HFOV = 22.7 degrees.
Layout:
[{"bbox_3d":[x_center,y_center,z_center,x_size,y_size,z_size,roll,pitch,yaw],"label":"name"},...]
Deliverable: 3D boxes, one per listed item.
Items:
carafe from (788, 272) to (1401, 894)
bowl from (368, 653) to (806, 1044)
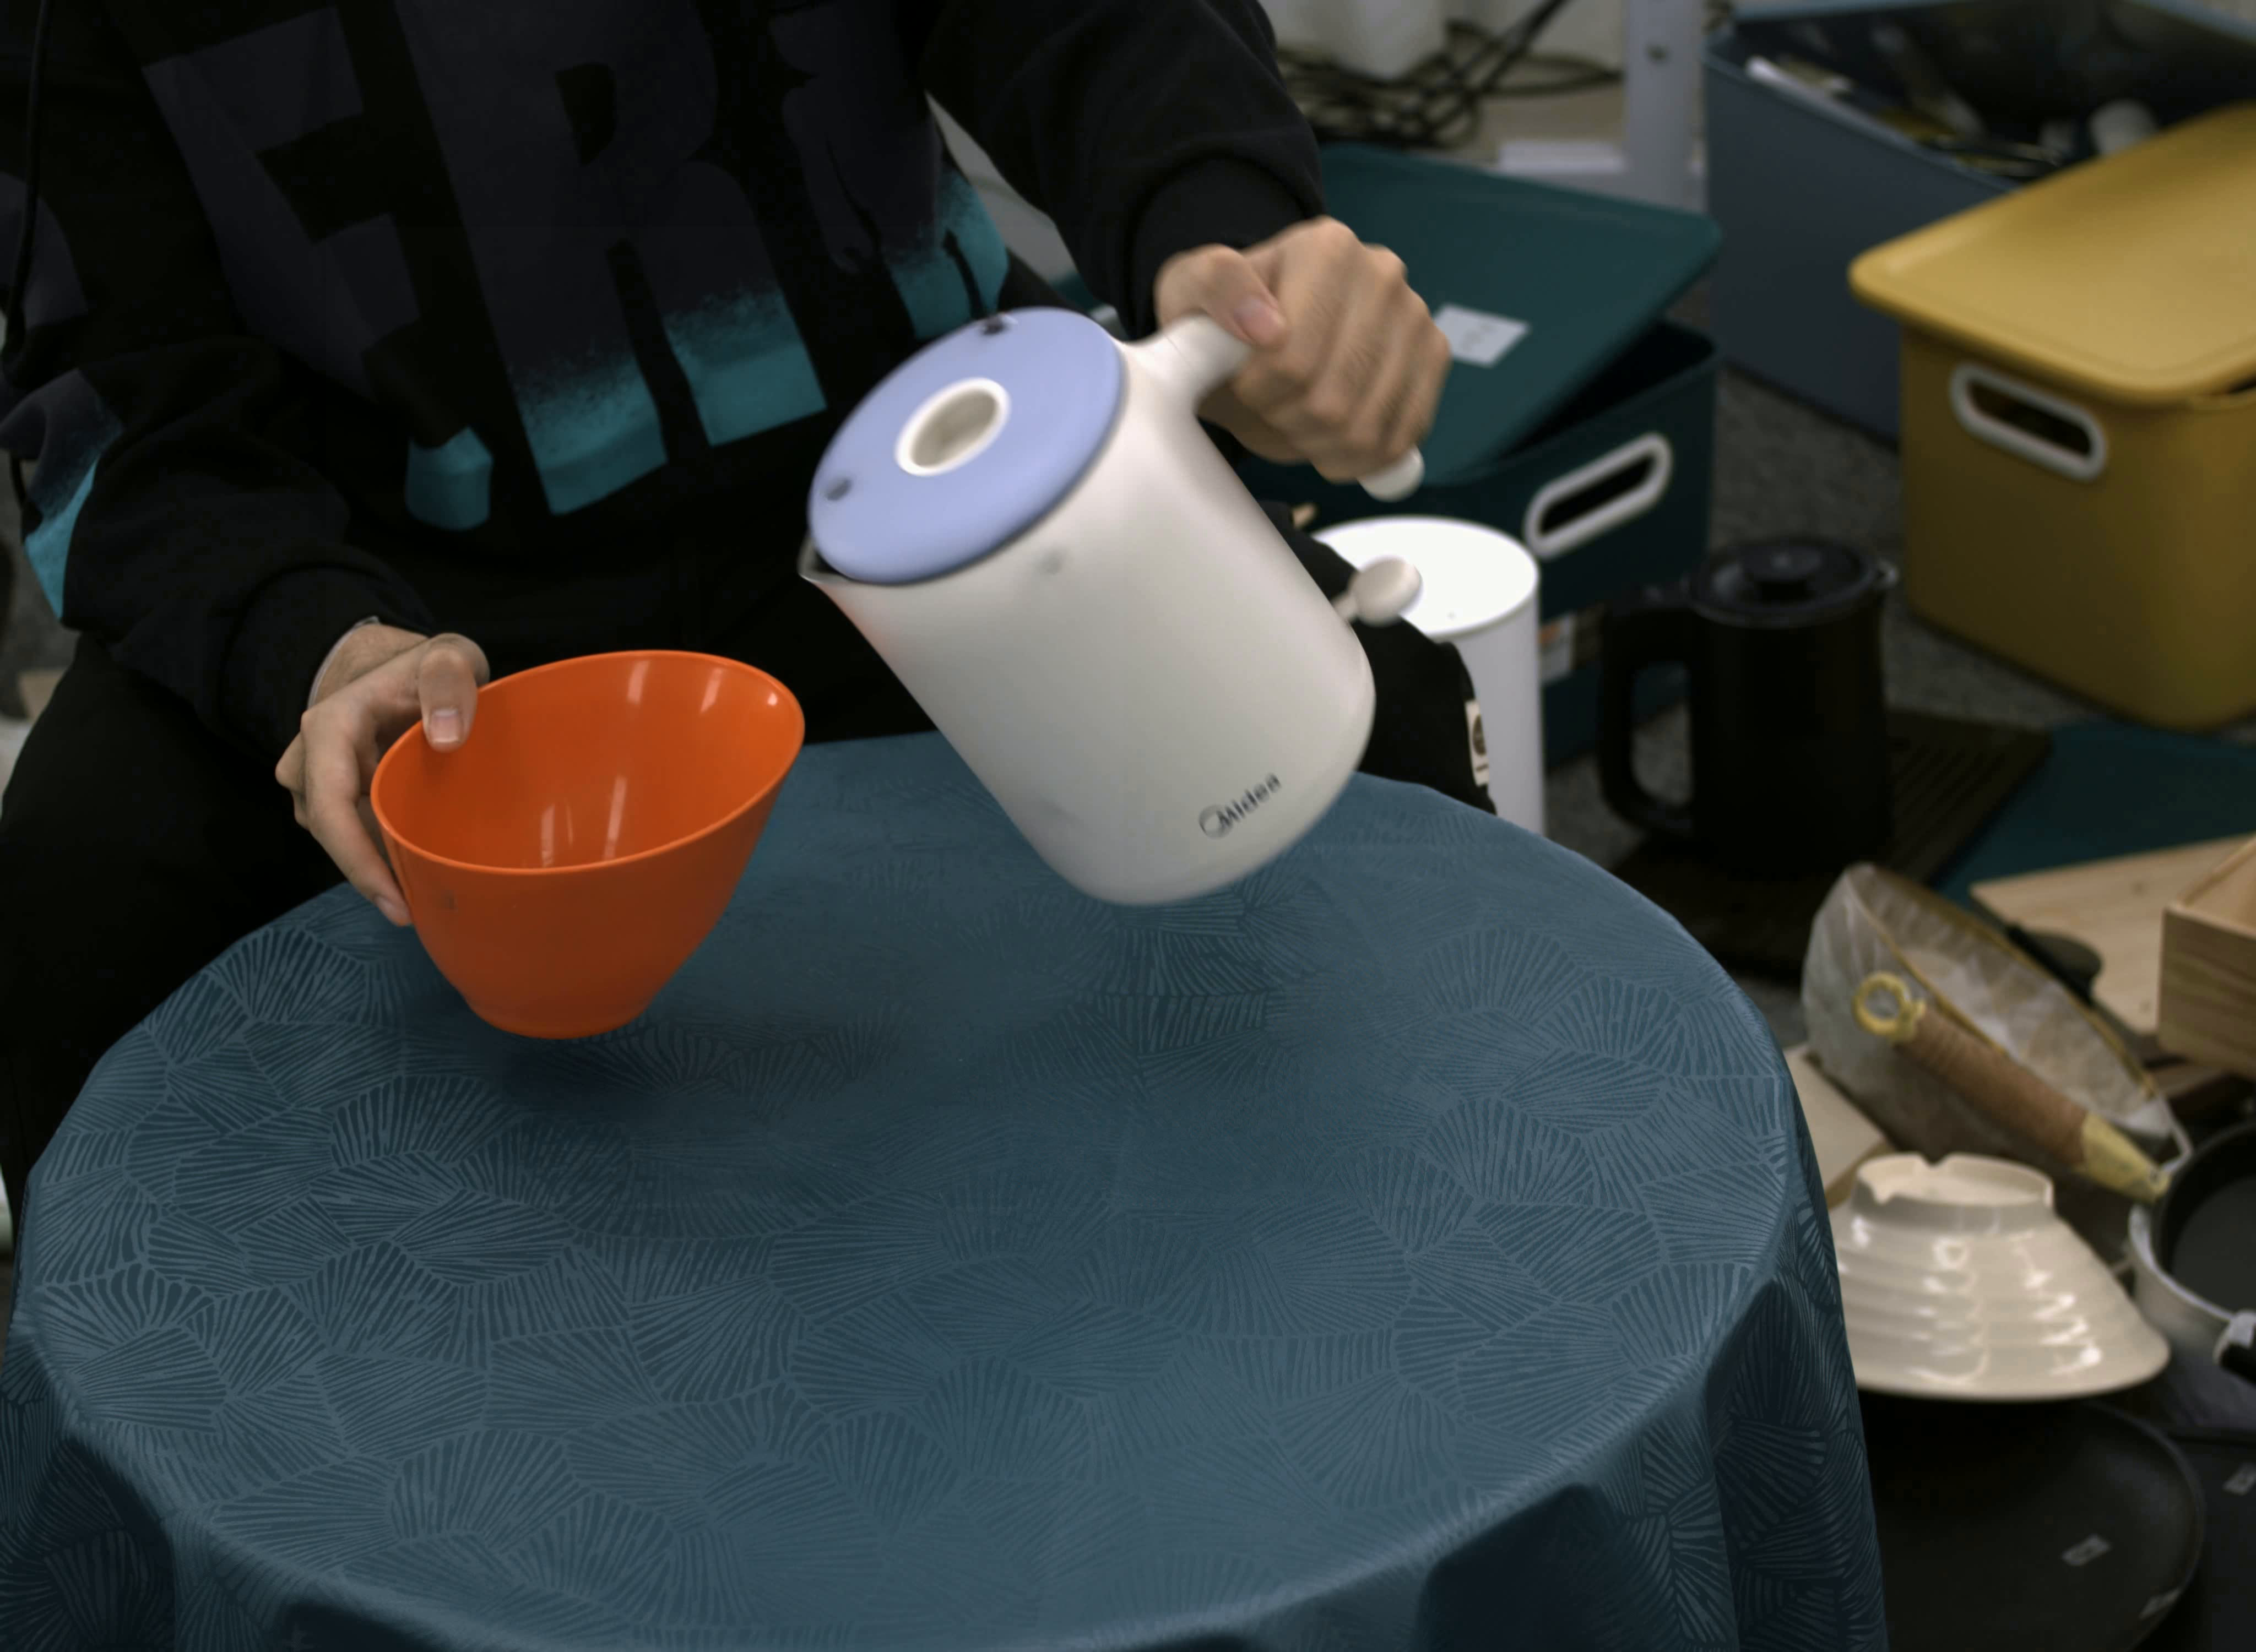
[{"bbox_3d":[0.003,-0.092,1.873,0.191,0.181,0.133,-37,36,-2],"label":"carafe"},{"bbox_3d":[-0.184,0.014,1.916,0.147,0.103,0.150,3,29,-1],"label":"bowl"}]
